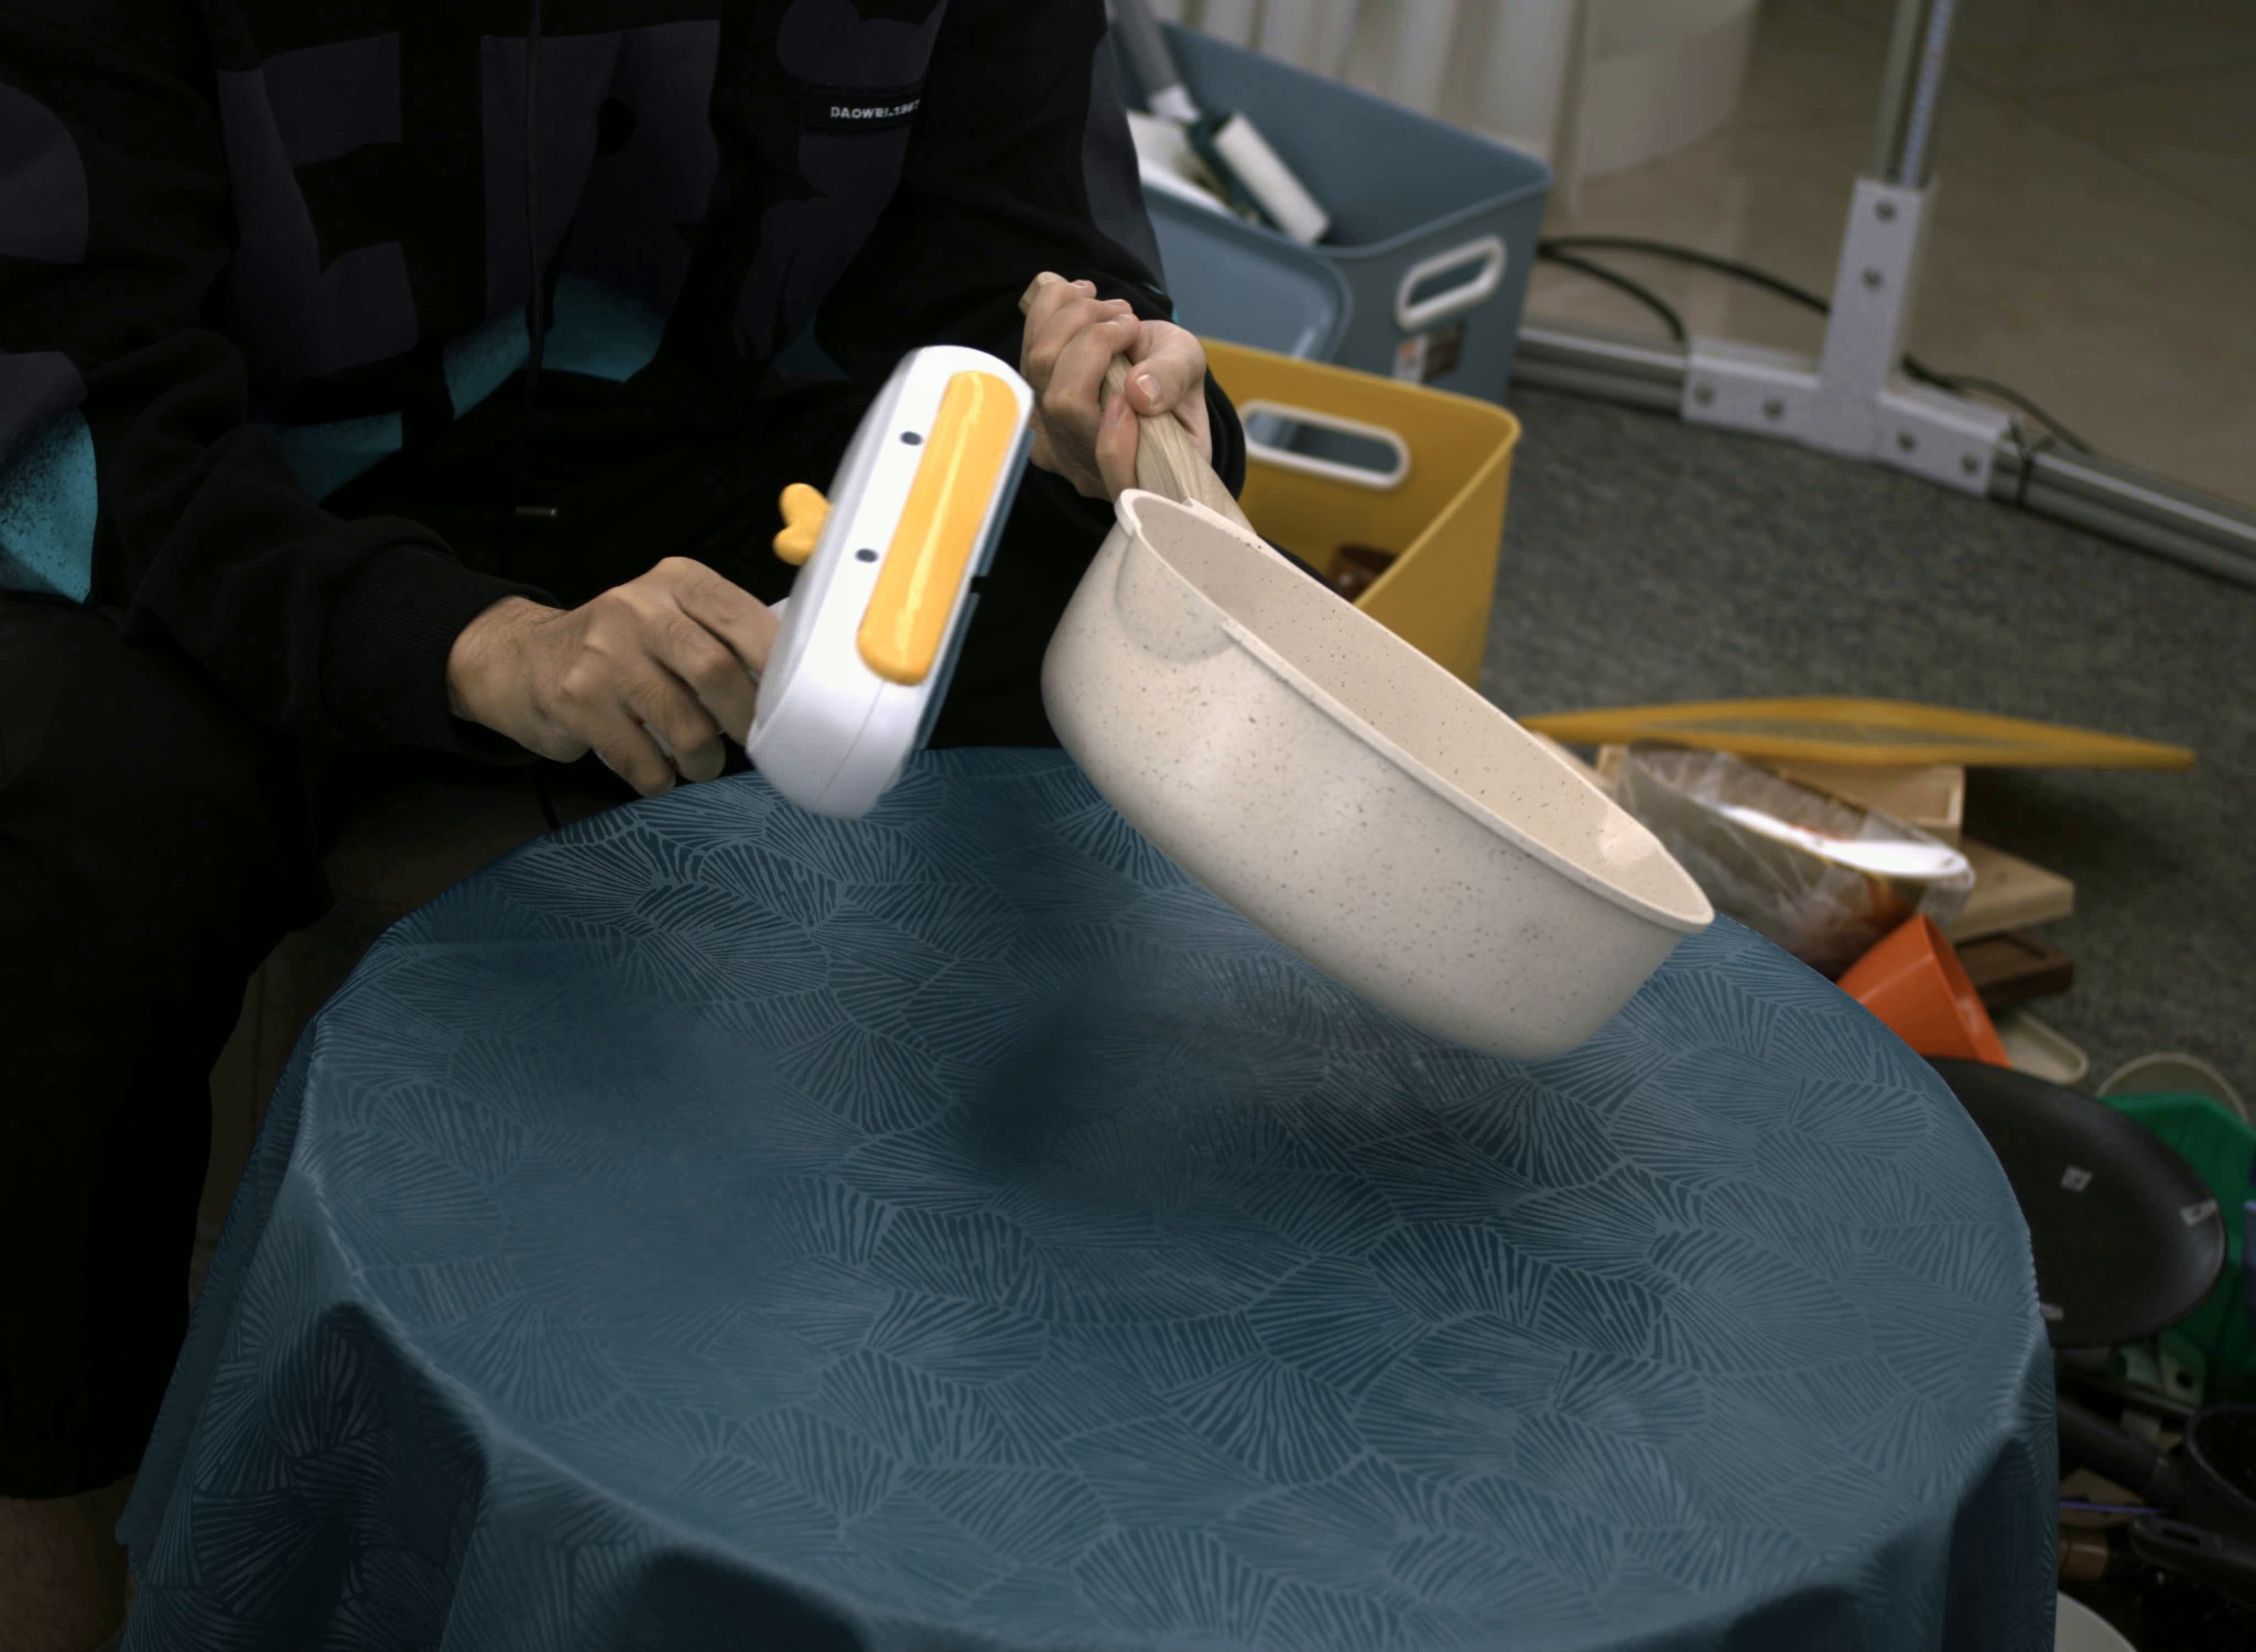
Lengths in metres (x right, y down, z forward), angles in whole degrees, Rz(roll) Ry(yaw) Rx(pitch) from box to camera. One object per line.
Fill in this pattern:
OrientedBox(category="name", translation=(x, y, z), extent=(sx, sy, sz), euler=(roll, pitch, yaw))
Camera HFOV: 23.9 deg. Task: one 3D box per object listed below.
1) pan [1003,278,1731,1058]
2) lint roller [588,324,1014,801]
OrientedBox(category="pan", translation=(0.042, -0.061, 1.901), extent=(0.261, 0.102, 0.439), euler=(23, 15, -40))
OrientedBox(category="lint roller", translation=(-0.118, -0.064, 1.835), extent=(0.073, 0.192, 0.194), euler=(27, 45, -19))
